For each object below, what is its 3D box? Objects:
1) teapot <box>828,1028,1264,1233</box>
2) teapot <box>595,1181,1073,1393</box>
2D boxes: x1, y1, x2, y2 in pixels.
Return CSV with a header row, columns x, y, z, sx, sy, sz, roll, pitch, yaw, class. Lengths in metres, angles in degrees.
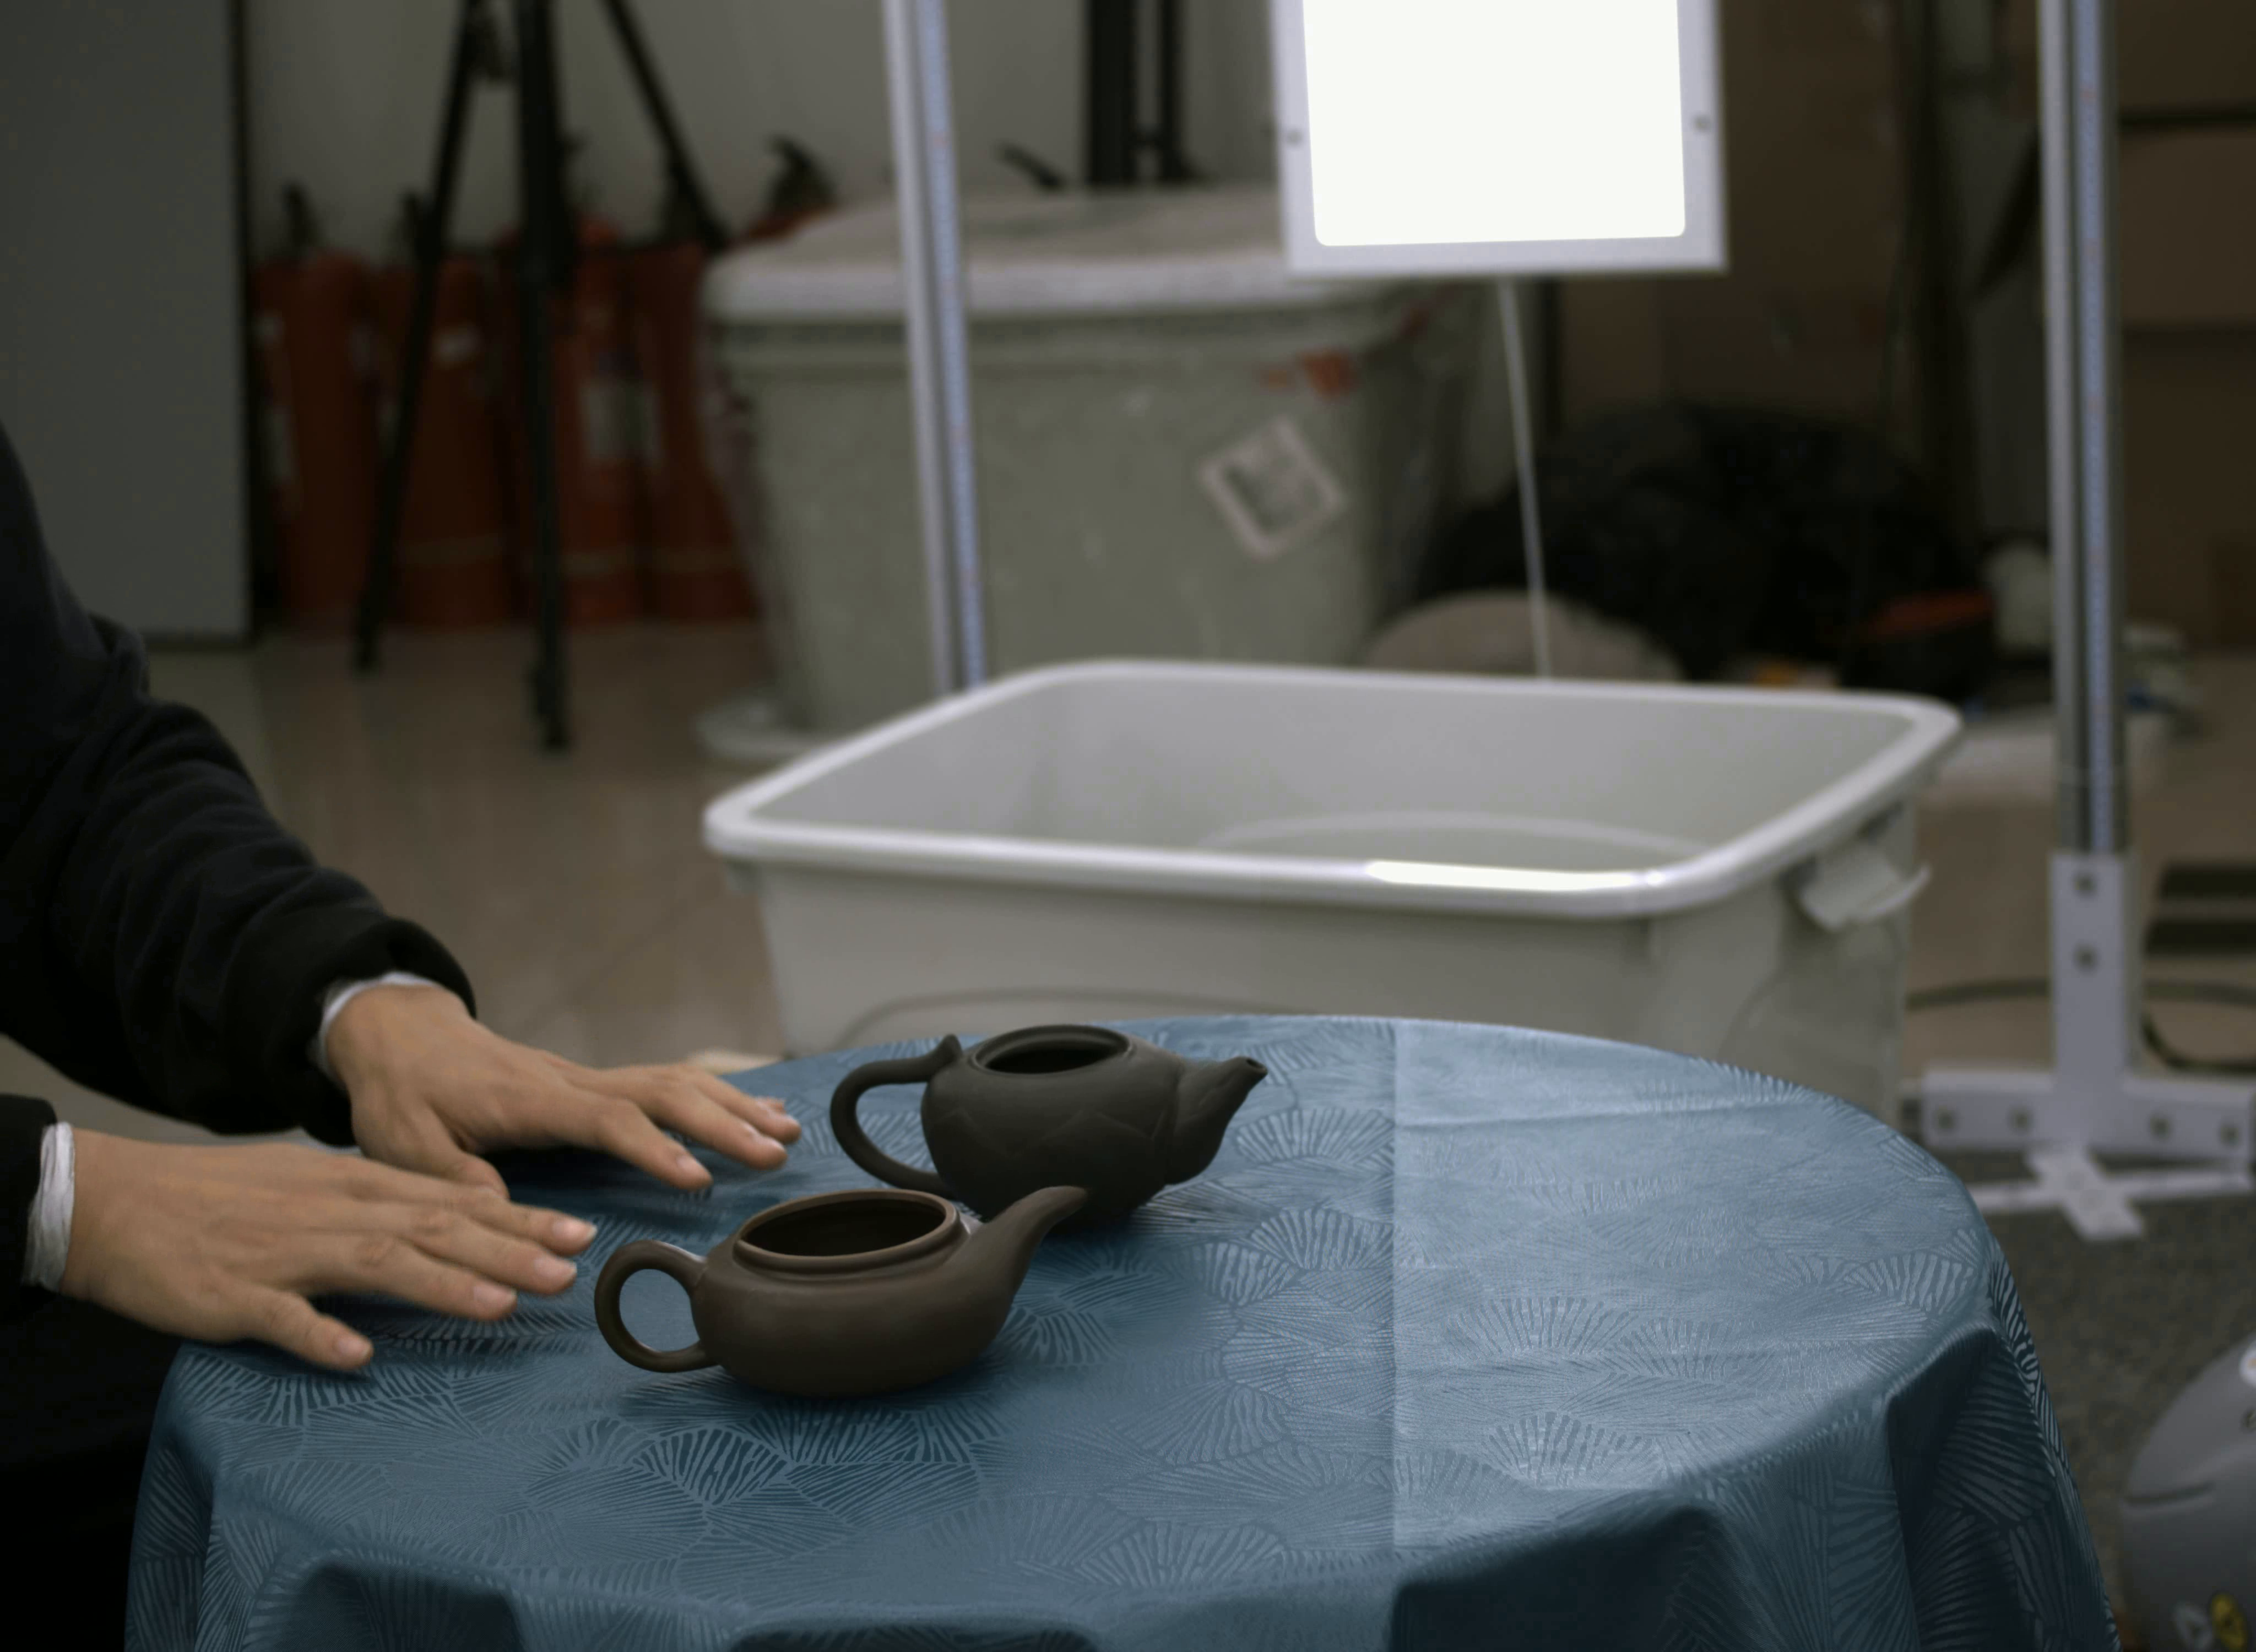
x,y,z,sx,sy,sz,roll,pitch,yaw,class
-0.028,0.102,1.878,0.155,0.064,0.091,-1,13,14,teapot
-0.091,0.145,1.739,0.152,0.054,0.103,-6,11,-7,teapot
